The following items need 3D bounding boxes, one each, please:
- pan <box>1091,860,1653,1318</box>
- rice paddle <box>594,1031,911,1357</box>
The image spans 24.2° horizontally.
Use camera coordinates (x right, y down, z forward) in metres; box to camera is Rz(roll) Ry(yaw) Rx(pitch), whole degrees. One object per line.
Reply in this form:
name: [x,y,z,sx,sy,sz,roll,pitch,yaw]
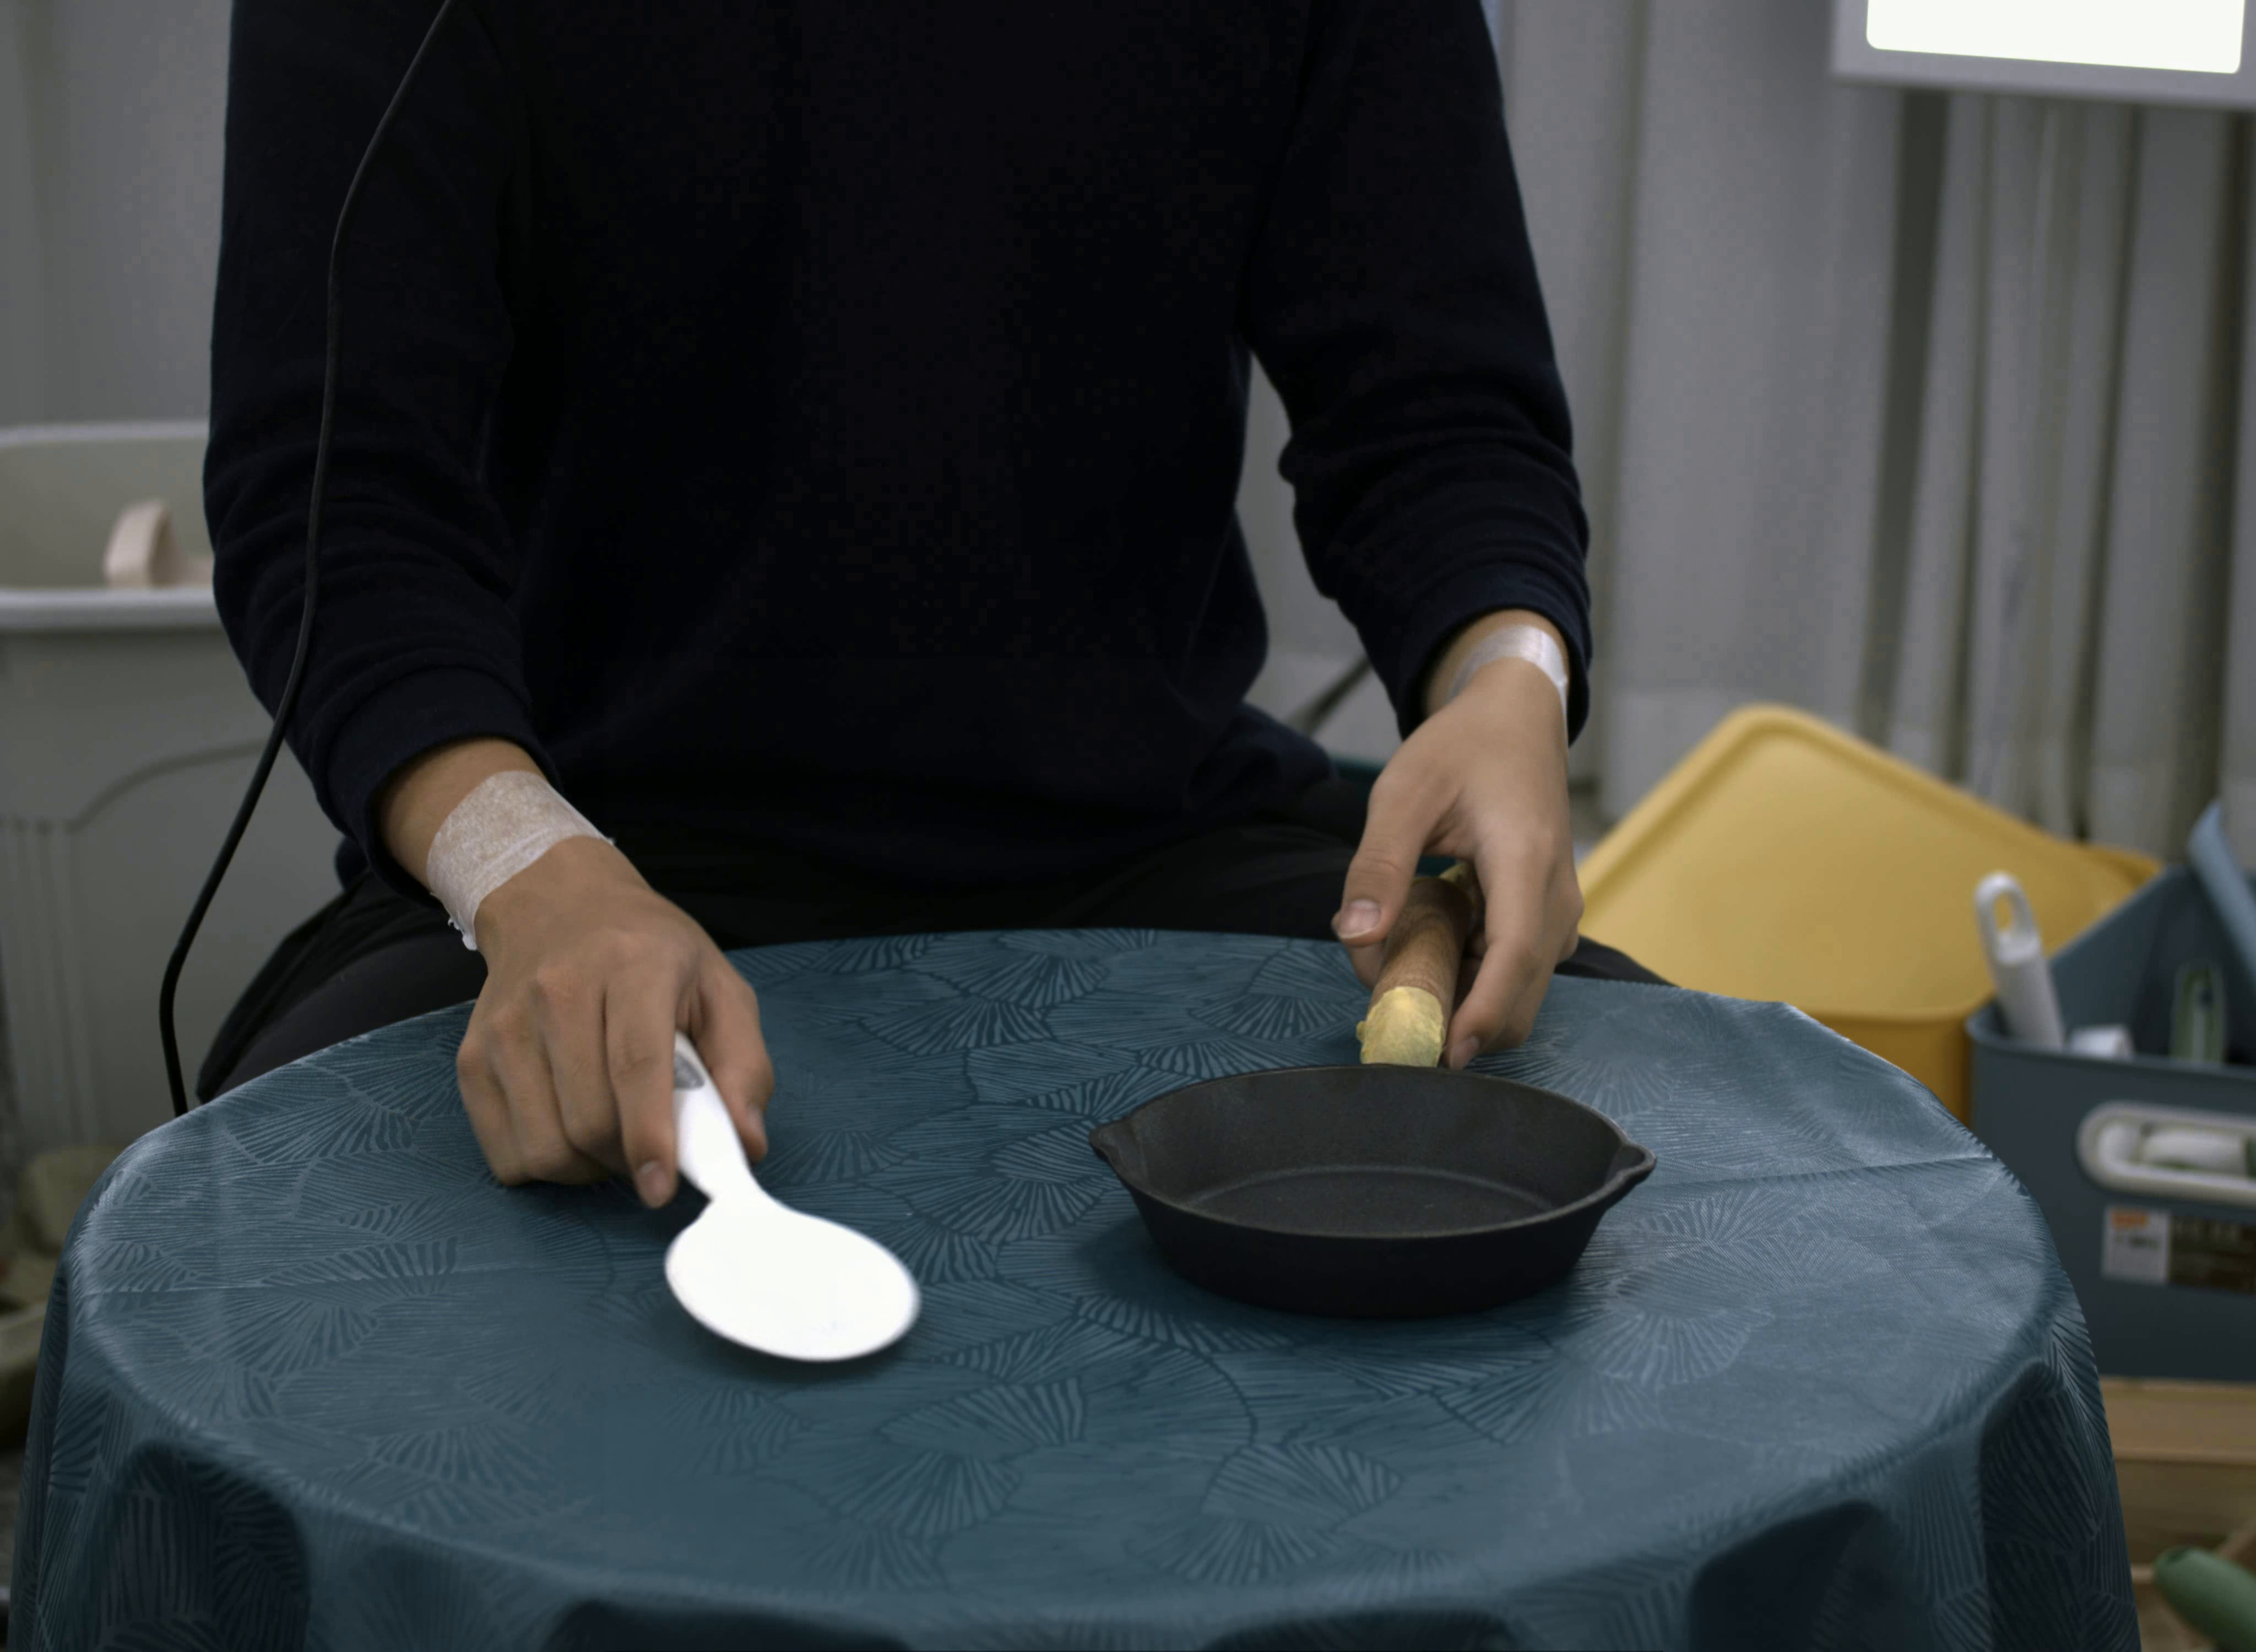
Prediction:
pan: [0.086,0.079,1.649,0.168,0.050,0.323,3,17,9]
rice paddle: [-0.117,0.110,1.553,0.069,0.029,0.203,-4,21,-20]
